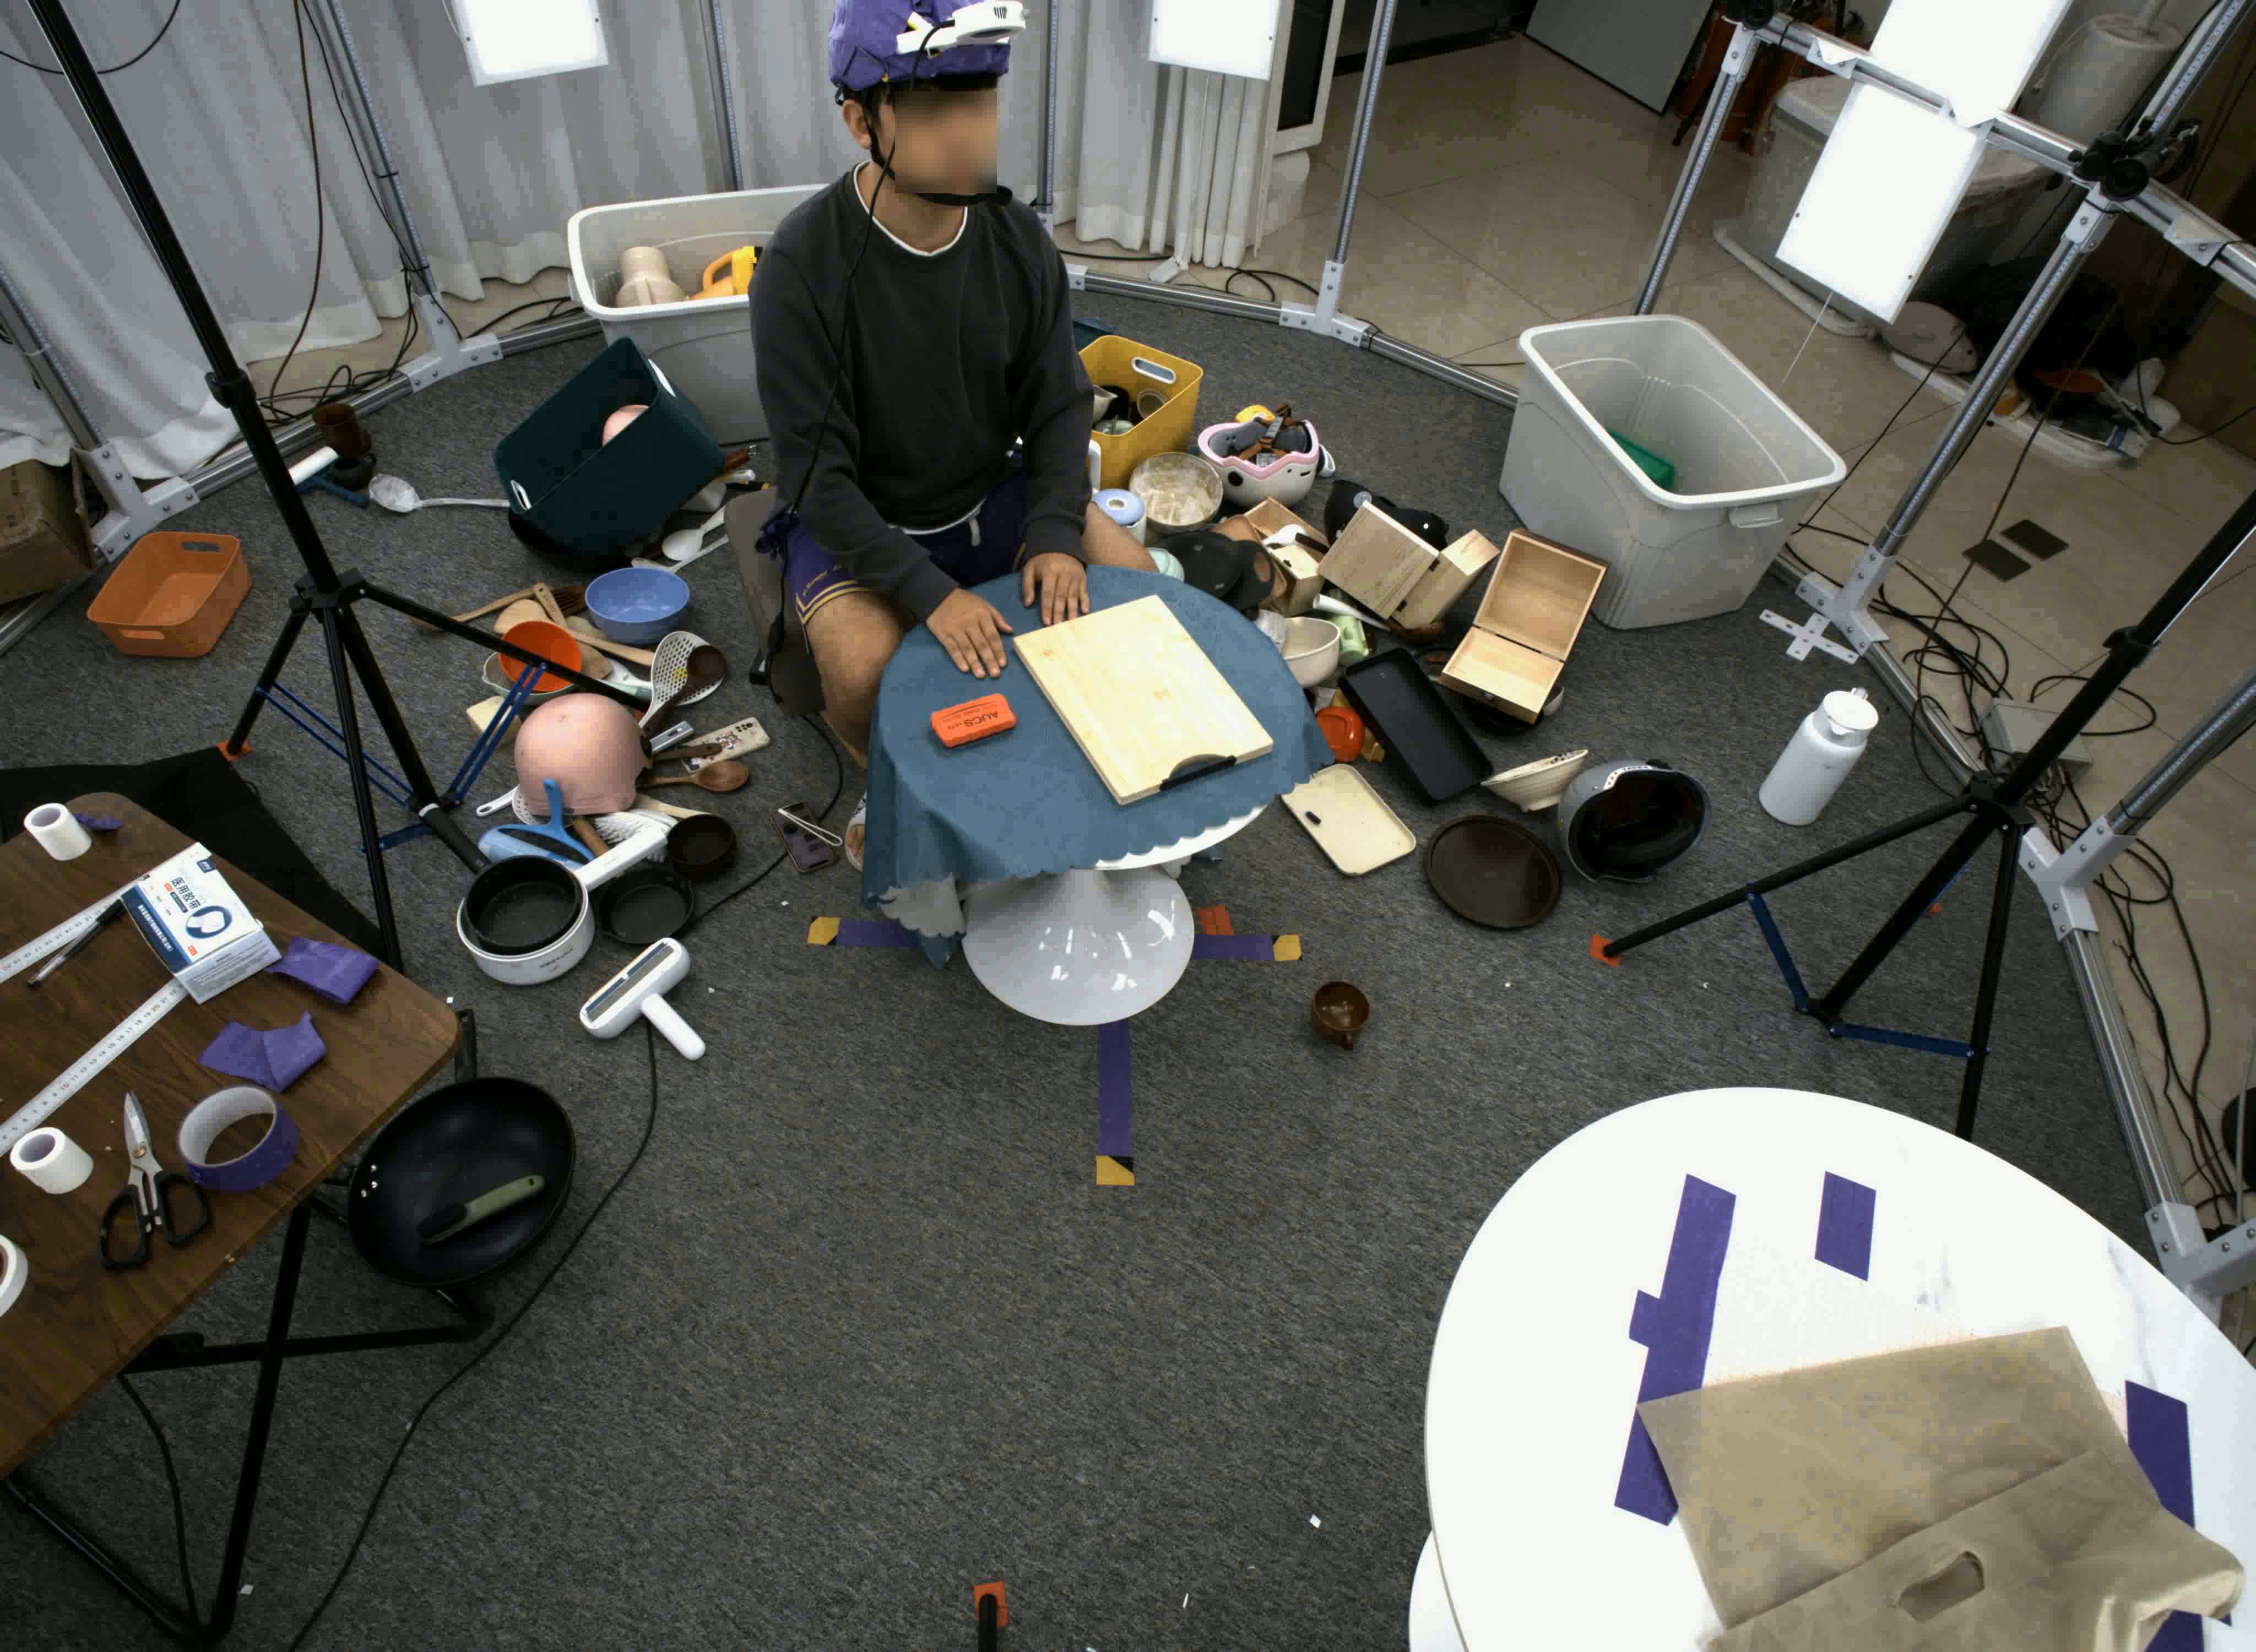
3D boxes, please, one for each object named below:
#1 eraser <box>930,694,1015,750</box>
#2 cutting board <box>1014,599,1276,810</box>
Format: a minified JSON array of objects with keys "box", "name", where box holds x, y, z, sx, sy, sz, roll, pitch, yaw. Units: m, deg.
[{"box":[-0.212,-0.144,1.760,0.108,0.022,0.060,-18,53,-19],"name":"eraser"},{"box":[0.019,-0.184,1.817,0.251,0.023,0.356,-21,53,-20],"name":"cutting board"}]
